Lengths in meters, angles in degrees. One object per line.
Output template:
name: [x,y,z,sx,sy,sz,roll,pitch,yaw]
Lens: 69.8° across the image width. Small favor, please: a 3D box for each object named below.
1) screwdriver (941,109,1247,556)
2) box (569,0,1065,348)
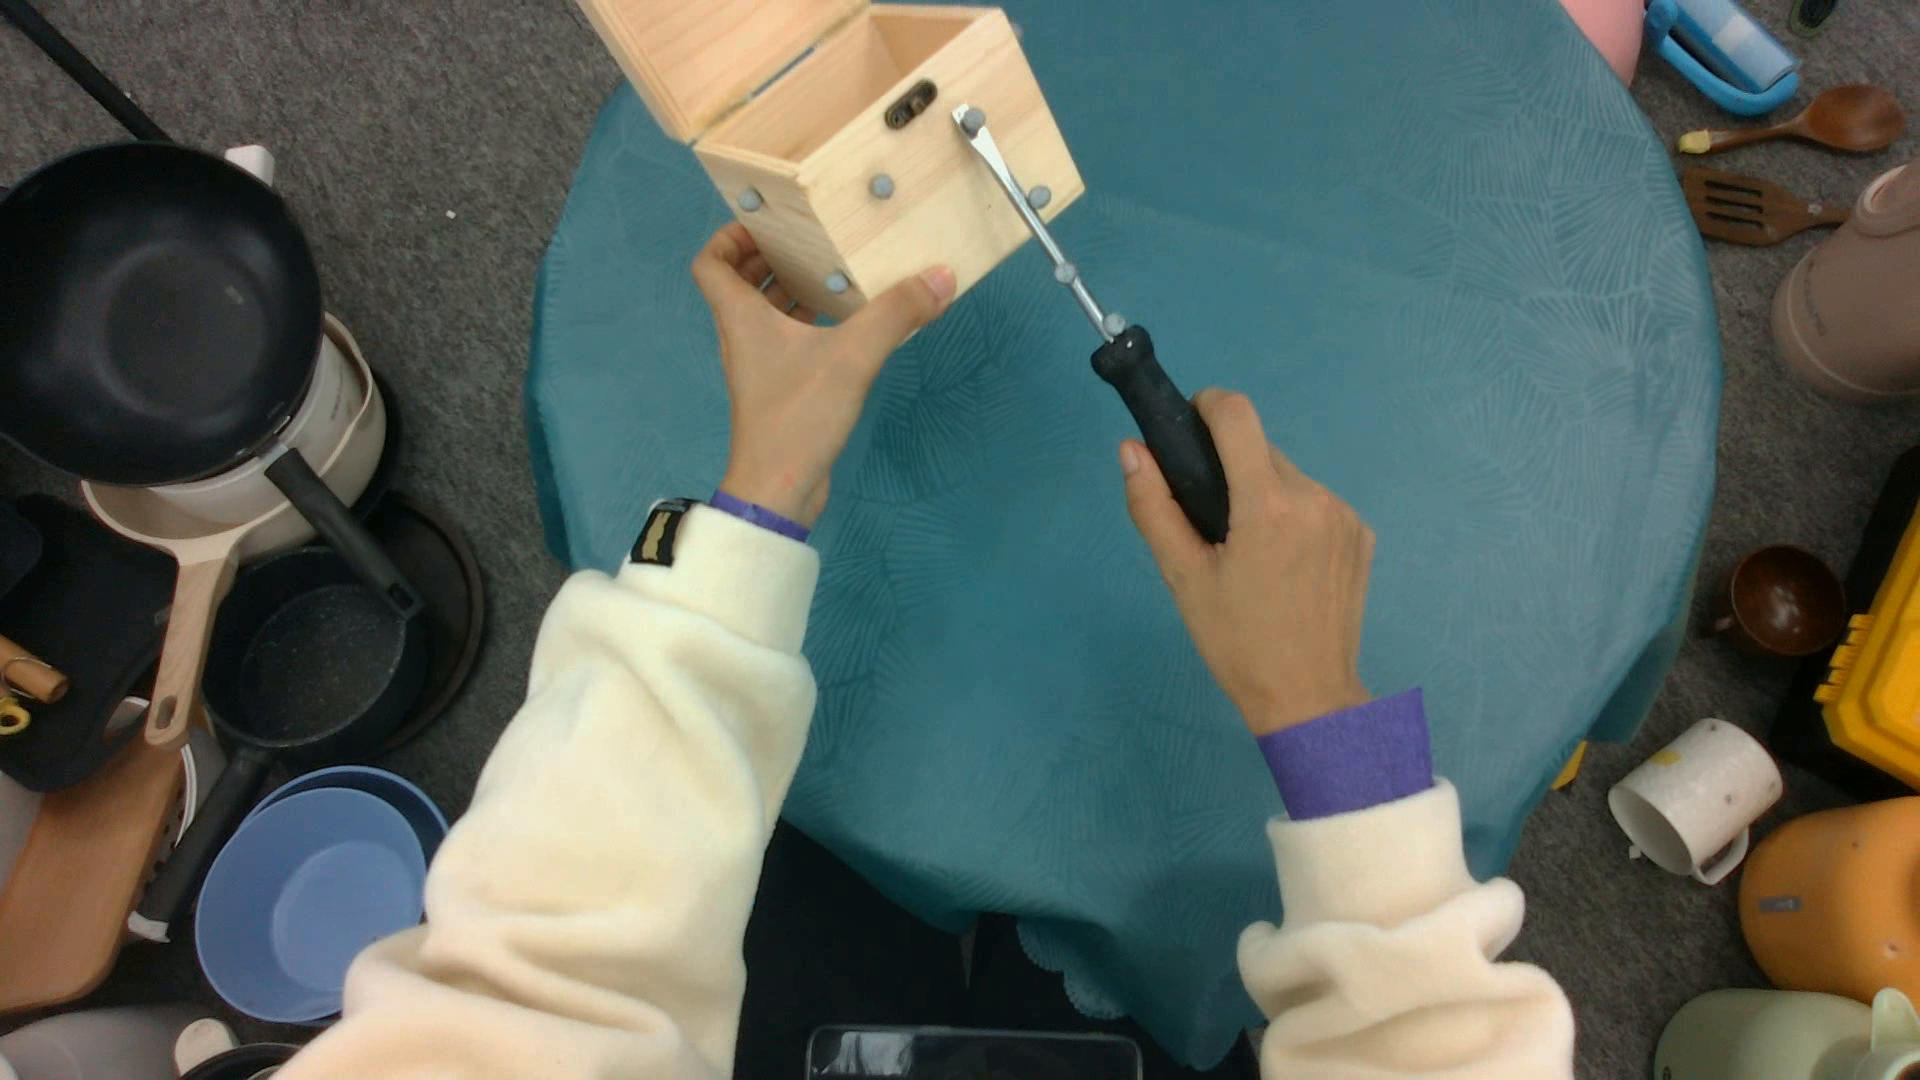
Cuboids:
screwdriver: [0.051,-0.078,0.524,0.031,0.031,0.197,-33,95,-9]
box: [-0.064,-0.187,0.535,0.103,0.184,0.134,-41,35,-12]
